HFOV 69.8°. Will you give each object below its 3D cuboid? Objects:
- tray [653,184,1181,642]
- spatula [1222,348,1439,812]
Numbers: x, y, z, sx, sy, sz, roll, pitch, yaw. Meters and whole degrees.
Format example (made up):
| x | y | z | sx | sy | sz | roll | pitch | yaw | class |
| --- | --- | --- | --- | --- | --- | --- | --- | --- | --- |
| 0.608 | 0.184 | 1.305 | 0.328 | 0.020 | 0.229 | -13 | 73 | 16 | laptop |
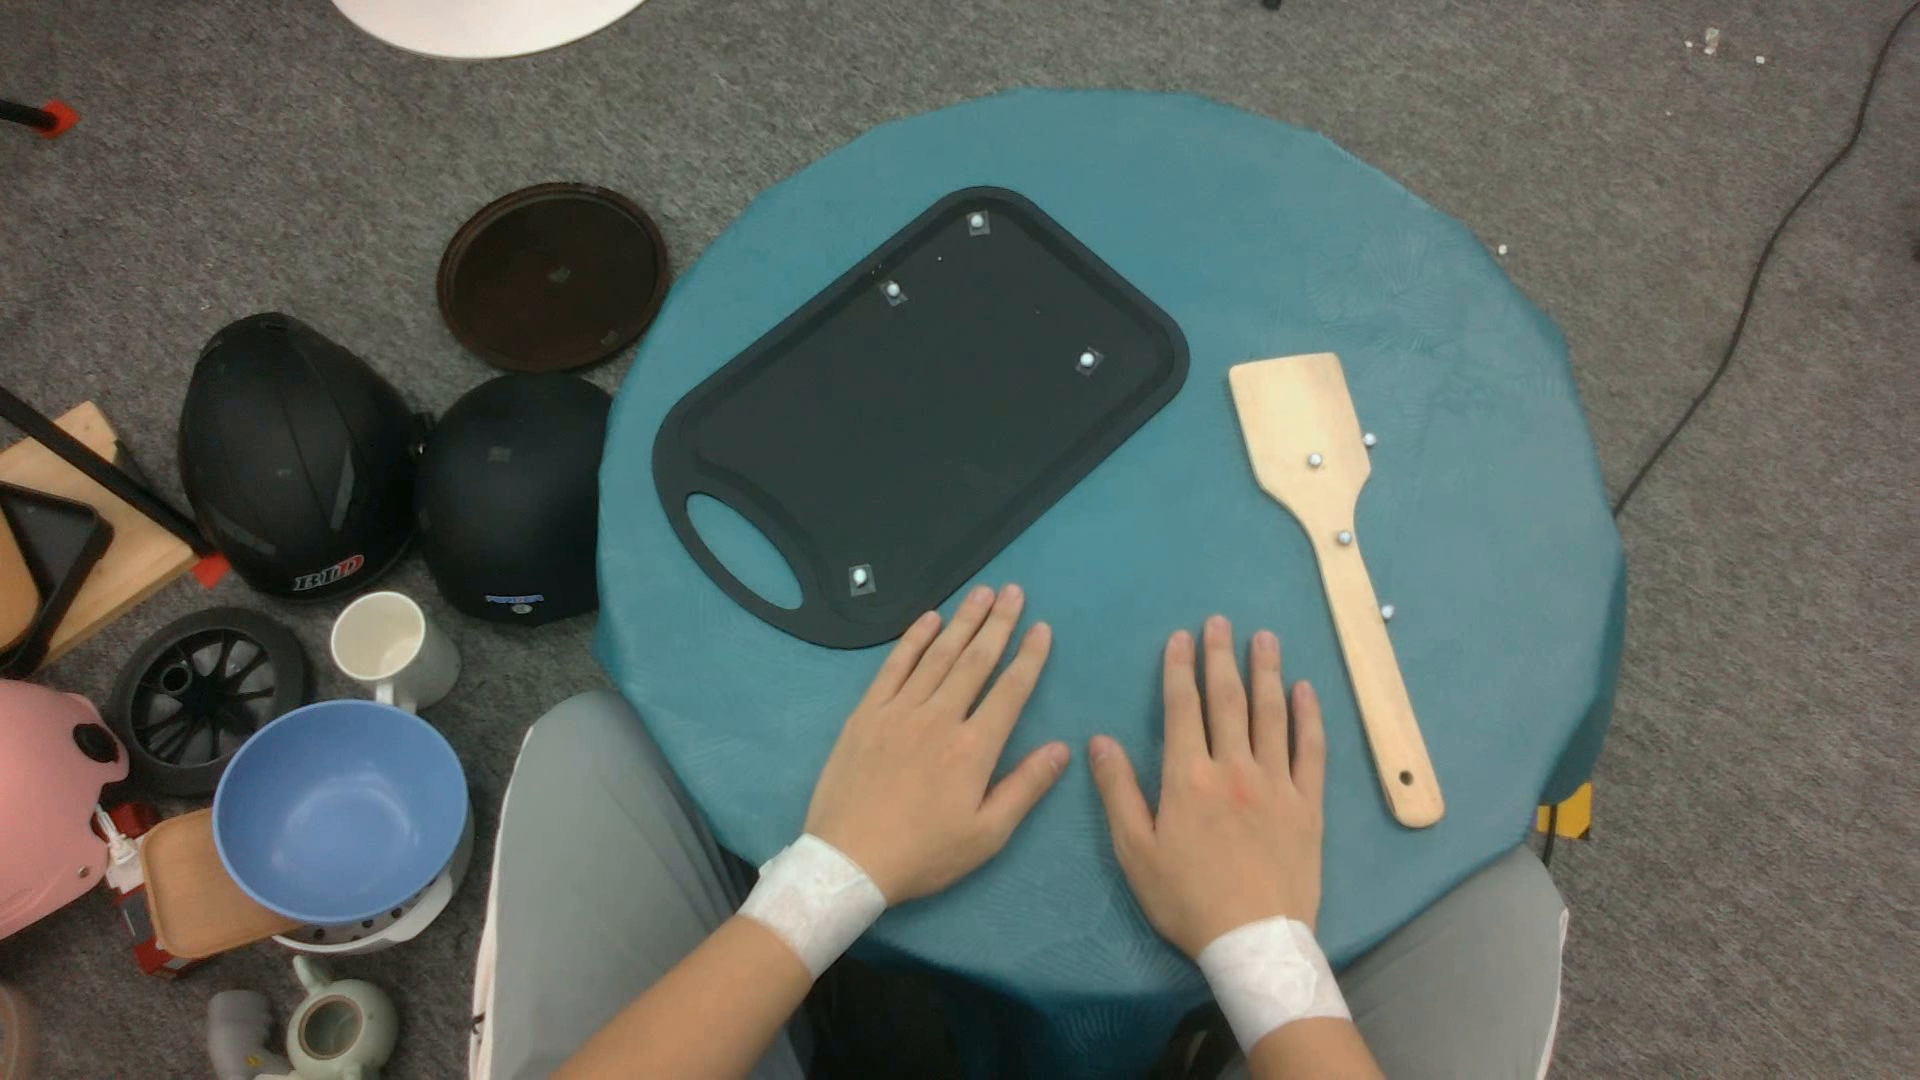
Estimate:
| x | y | z | sx | sy | sz | roll | pitch | yaw | class |
| --- | --- | --- | --- | --- | --- | --- | --- | --- | --- |
| -0.029 | -0.085 | 0.852 | 0.326 | 0.010 | 0.211 | -41 | 71 | -16 | tray |
| 0.223 | 0.015 | 0.802 | 0.072 | 0.010 | 0.294 | -9 | 65 | -5 | spatula |
